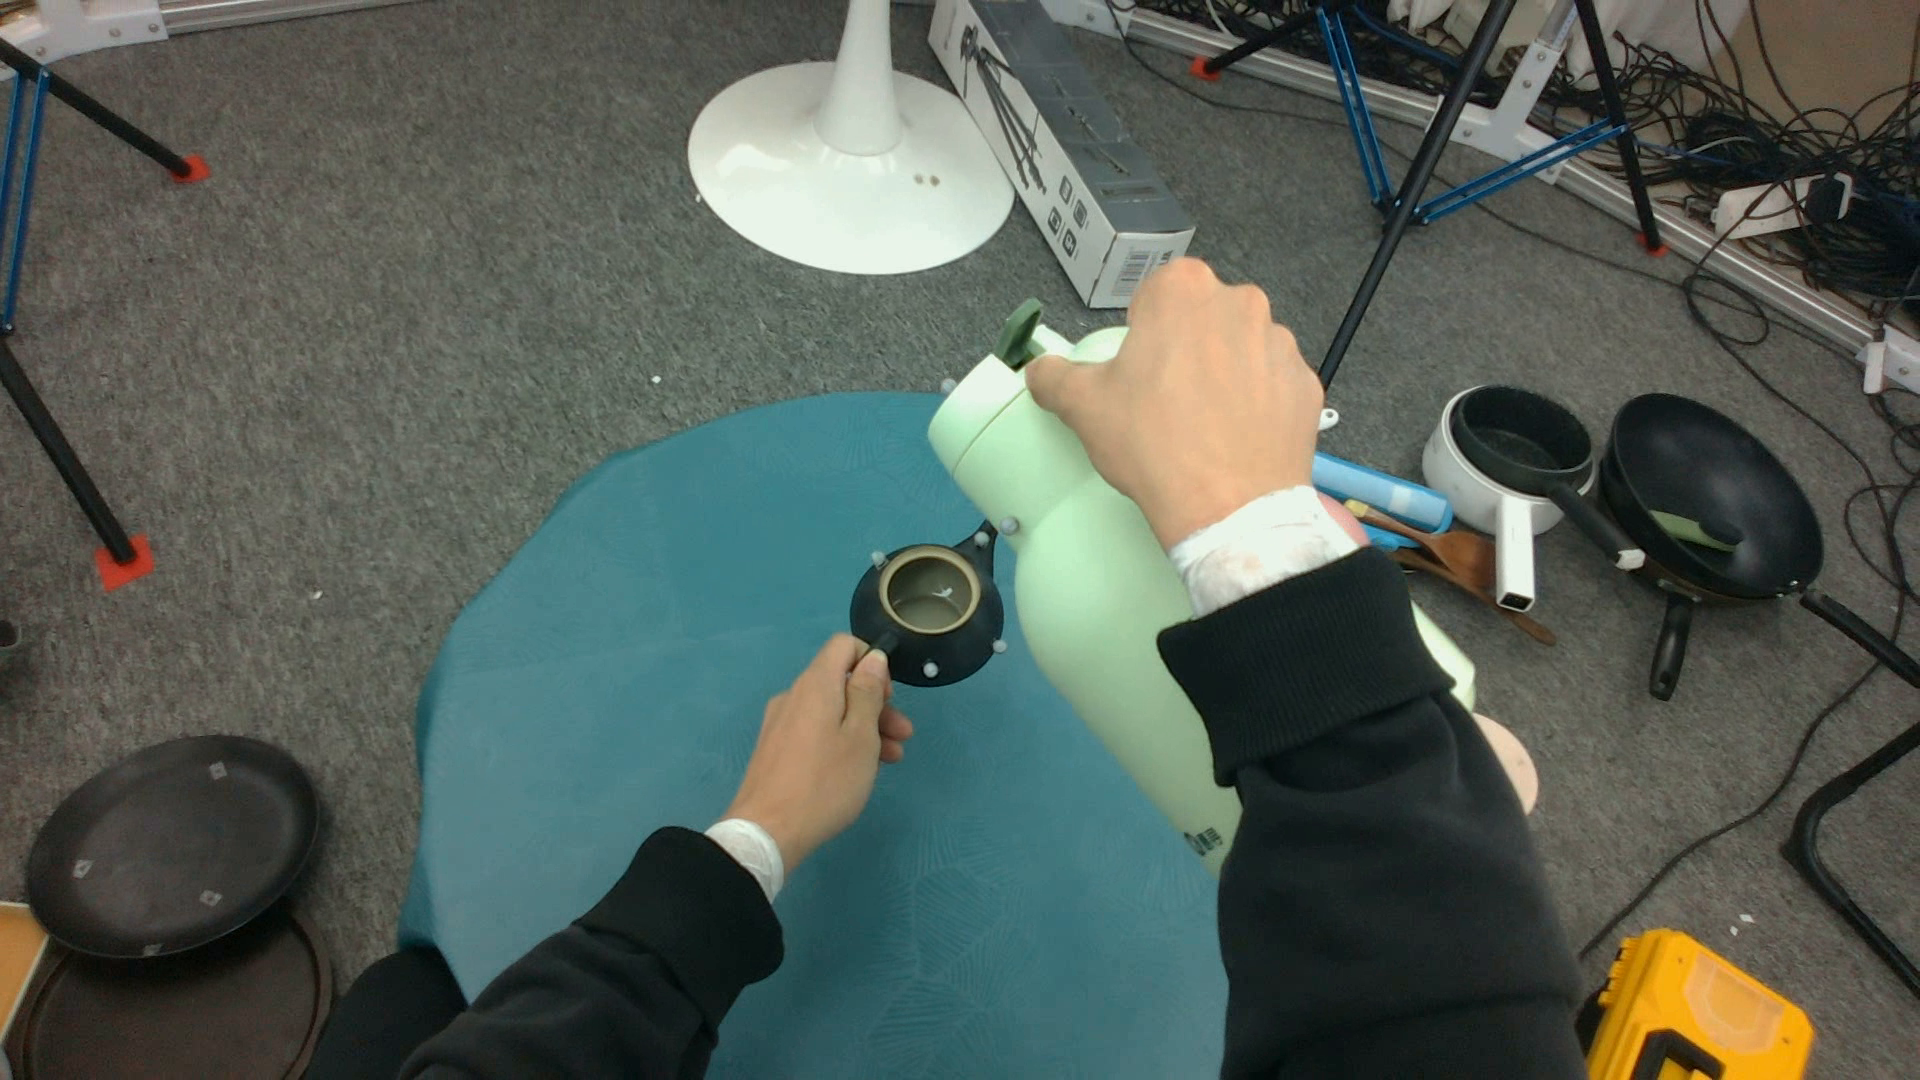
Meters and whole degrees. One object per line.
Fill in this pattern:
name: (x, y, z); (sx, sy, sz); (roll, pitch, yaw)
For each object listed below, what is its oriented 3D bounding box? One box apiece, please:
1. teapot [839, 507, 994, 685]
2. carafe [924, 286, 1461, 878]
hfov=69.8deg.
teapot: (-0.025, 0.036, 0.800); (0.091, 0.053, 0.134); (32, 57, 17)
carafe: (0.095, 0.009, 0.609); (0.145, 0.186, 0.257); (-36, 84, -28)
